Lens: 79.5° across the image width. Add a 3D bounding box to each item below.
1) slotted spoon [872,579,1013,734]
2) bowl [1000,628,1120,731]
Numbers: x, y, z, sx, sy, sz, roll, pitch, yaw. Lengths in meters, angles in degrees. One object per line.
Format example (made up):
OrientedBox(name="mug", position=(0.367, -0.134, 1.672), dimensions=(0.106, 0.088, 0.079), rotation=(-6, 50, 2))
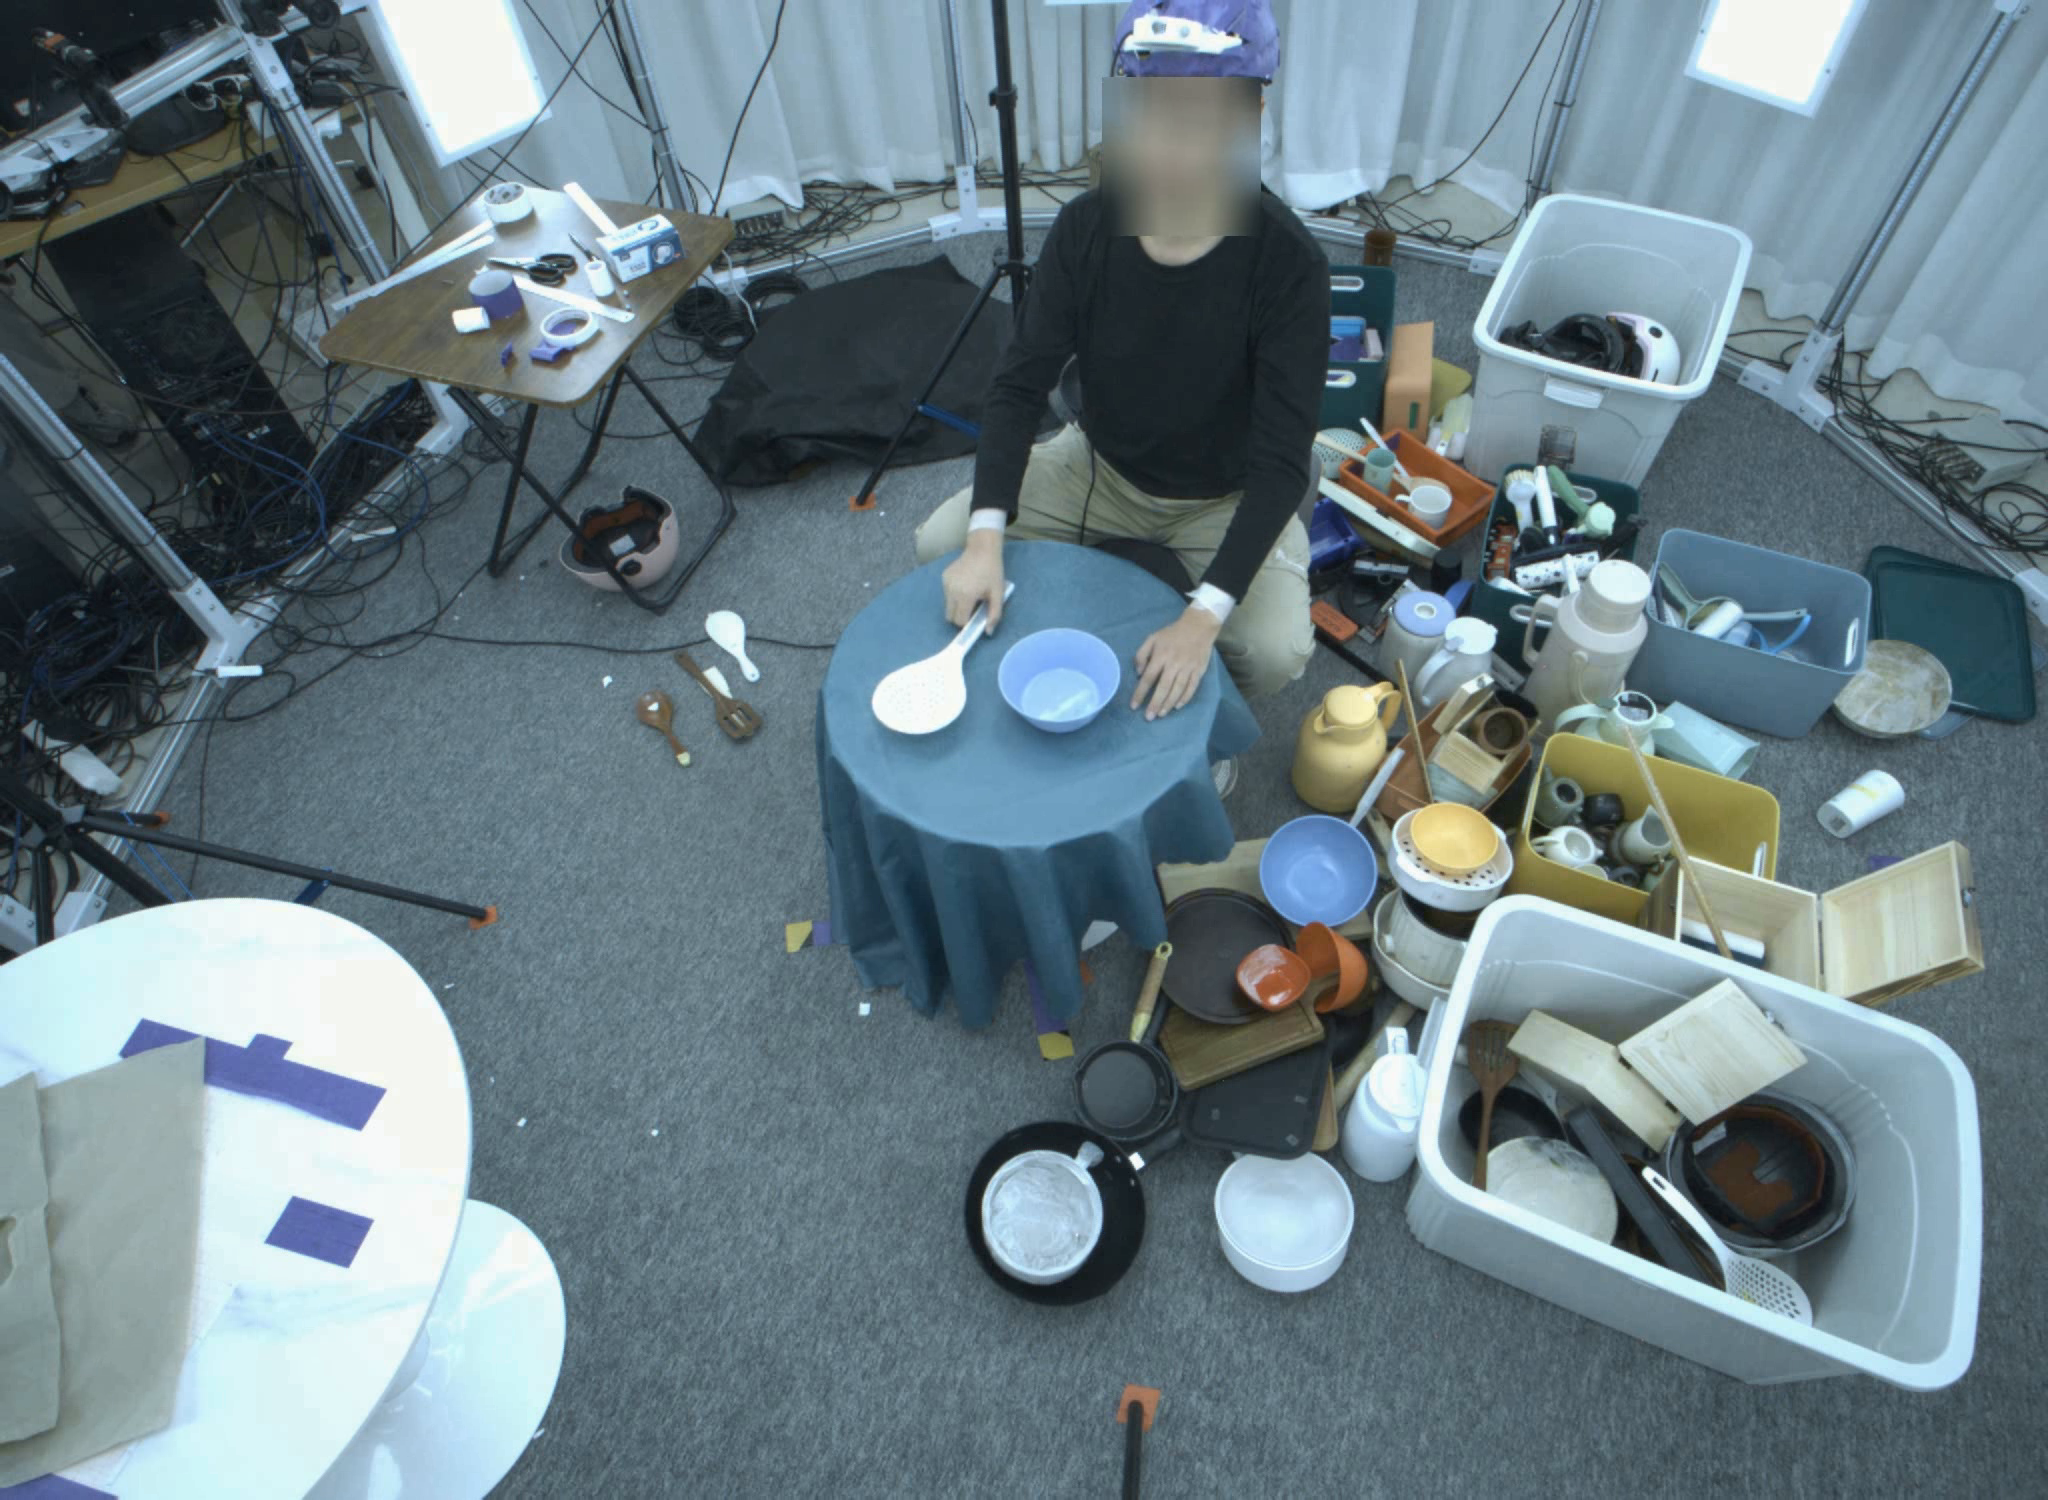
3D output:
OrientedBox(name="slotted spoon", position=(-0.107, -0.147, 1.864), dimensions=(0.134, 0.046, 0.350), rotation=(19, 58, 18))
OrientedBox(name="bowl", position=(0.053, -0.093, 1.809), dimensions=(0.176, 0.071, 0.174), rotation=(0, 54, 2))
